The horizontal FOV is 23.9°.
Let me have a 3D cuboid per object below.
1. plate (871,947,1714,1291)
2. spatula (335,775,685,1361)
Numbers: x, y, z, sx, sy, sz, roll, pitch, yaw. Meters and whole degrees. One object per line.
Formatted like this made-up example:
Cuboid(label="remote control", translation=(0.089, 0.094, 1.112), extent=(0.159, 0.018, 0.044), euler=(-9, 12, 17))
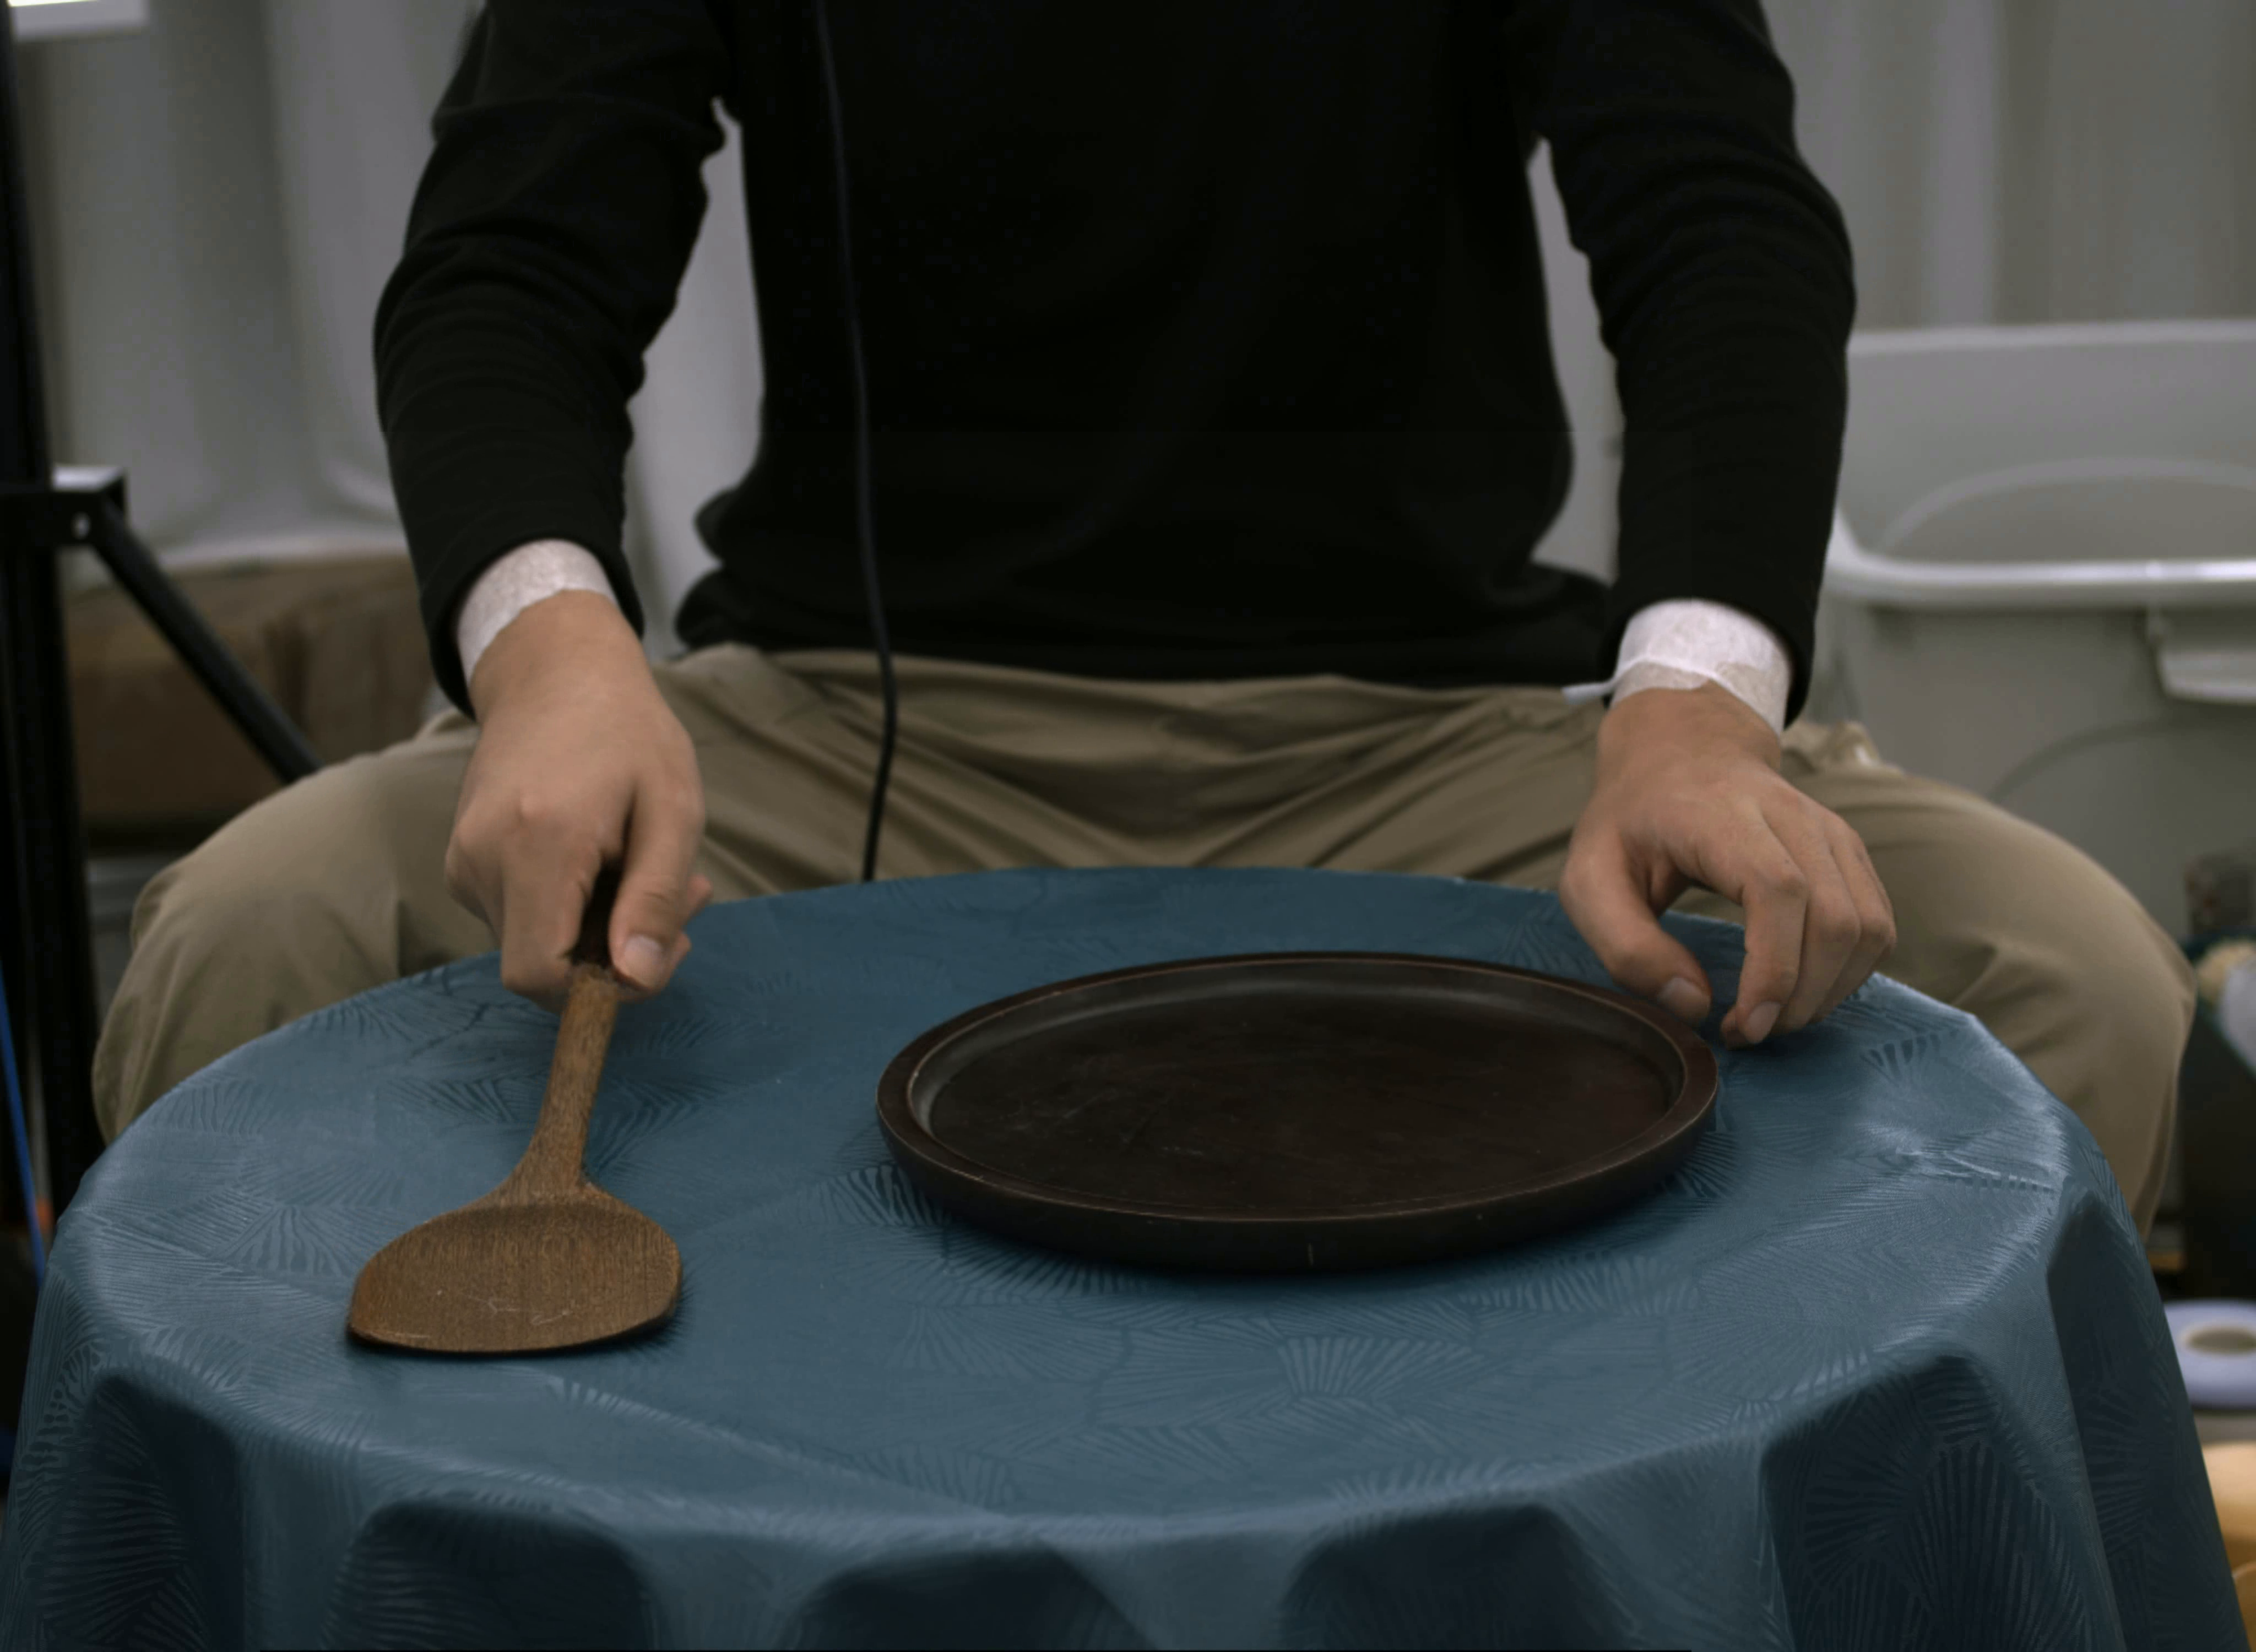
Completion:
Cuboid(label="plate", translation=(0.050, 0.085, 1.590), extent=(0.253, 0.029, 0.256), euler=(-4, 17, 0))
Cuboid(label="spatula", translation=(-0.168, 0.065, 1.628), extent=(0.096, 0.016, 0.388), euler=(-2, 25, 2))
